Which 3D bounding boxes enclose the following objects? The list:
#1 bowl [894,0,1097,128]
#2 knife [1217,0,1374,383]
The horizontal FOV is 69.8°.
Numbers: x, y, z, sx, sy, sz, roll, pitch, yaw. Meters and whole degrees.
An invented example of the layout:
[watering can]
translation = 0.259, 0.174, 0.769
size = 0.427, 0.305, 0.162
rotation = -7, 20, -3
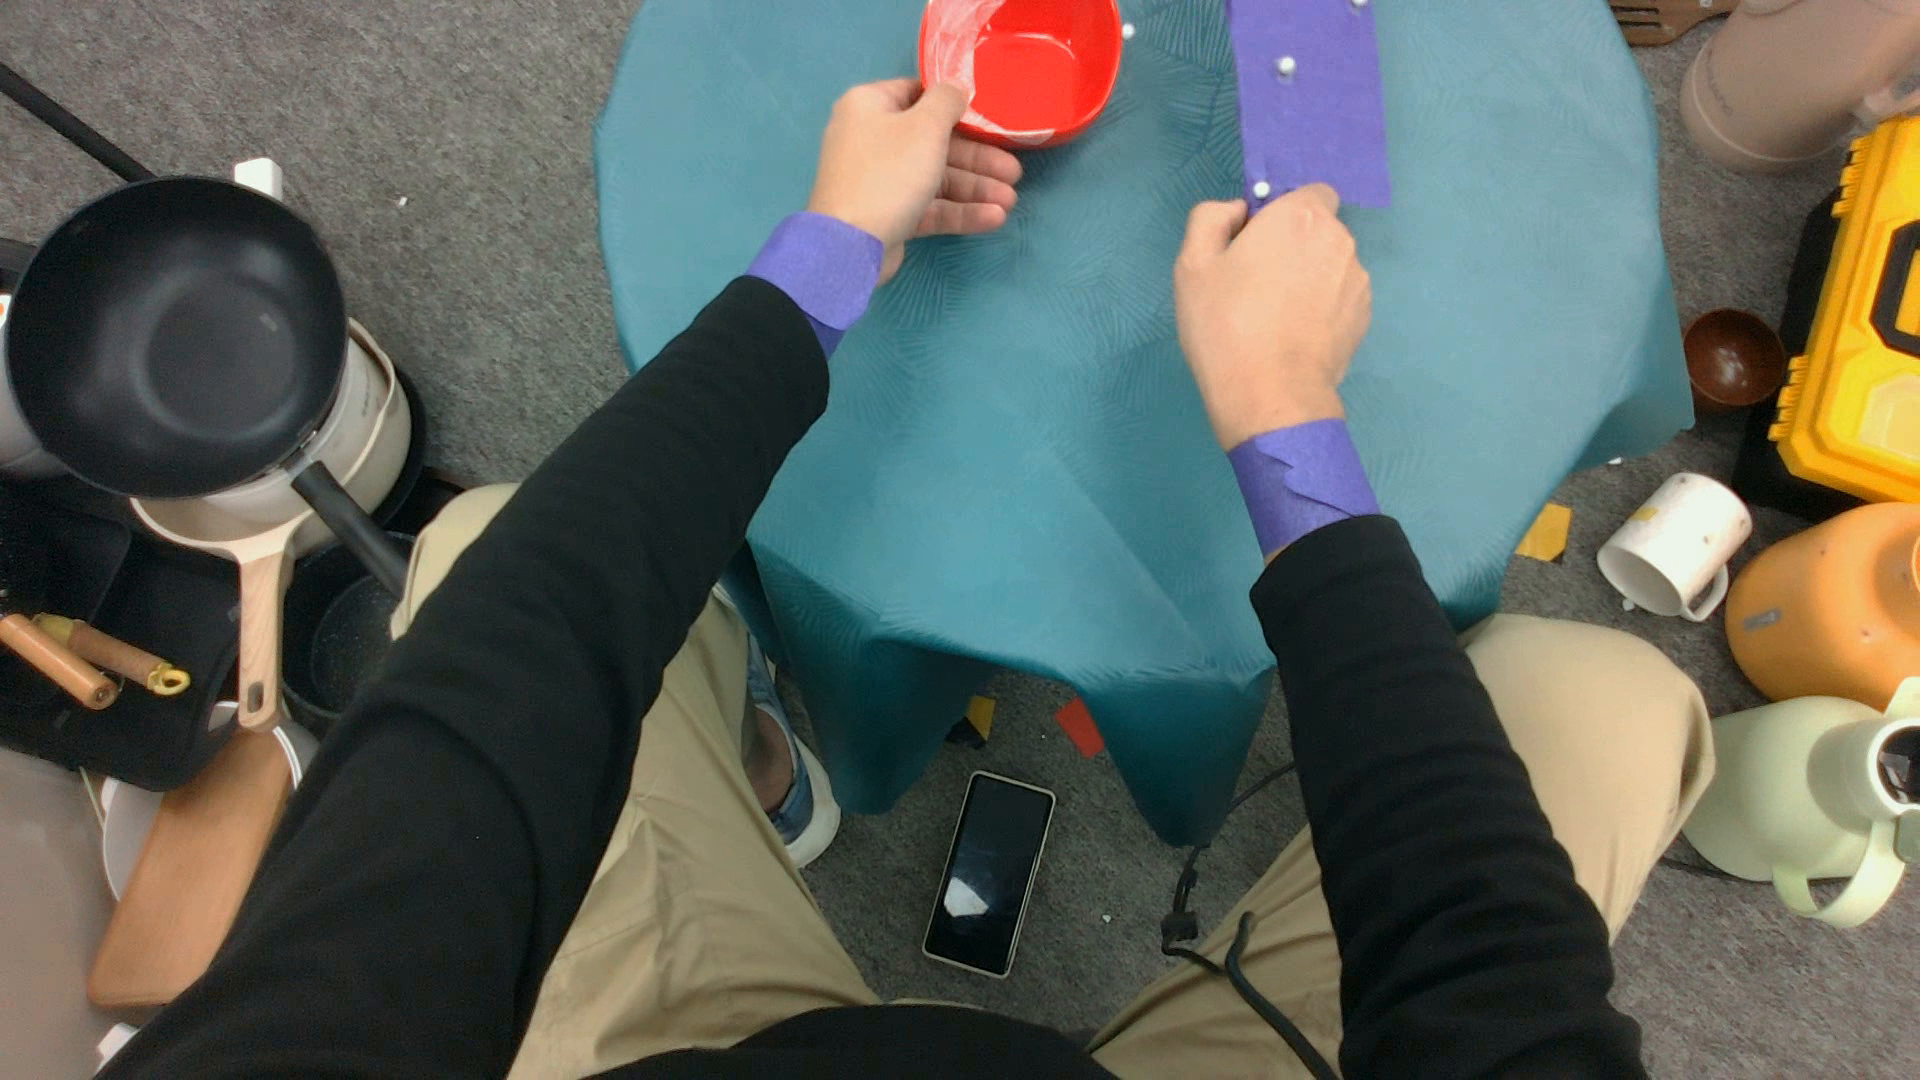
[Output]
[bowl]
translation = 0.019, -0.273, 0.769
size = 0.119, 0.051, 0.119
rotation = 0, 72, 0
[knife]
translation = 0.175, -0.235, 0.718
size = 0.104, 0.032, 0.315
rotation = 2, 80, -21
